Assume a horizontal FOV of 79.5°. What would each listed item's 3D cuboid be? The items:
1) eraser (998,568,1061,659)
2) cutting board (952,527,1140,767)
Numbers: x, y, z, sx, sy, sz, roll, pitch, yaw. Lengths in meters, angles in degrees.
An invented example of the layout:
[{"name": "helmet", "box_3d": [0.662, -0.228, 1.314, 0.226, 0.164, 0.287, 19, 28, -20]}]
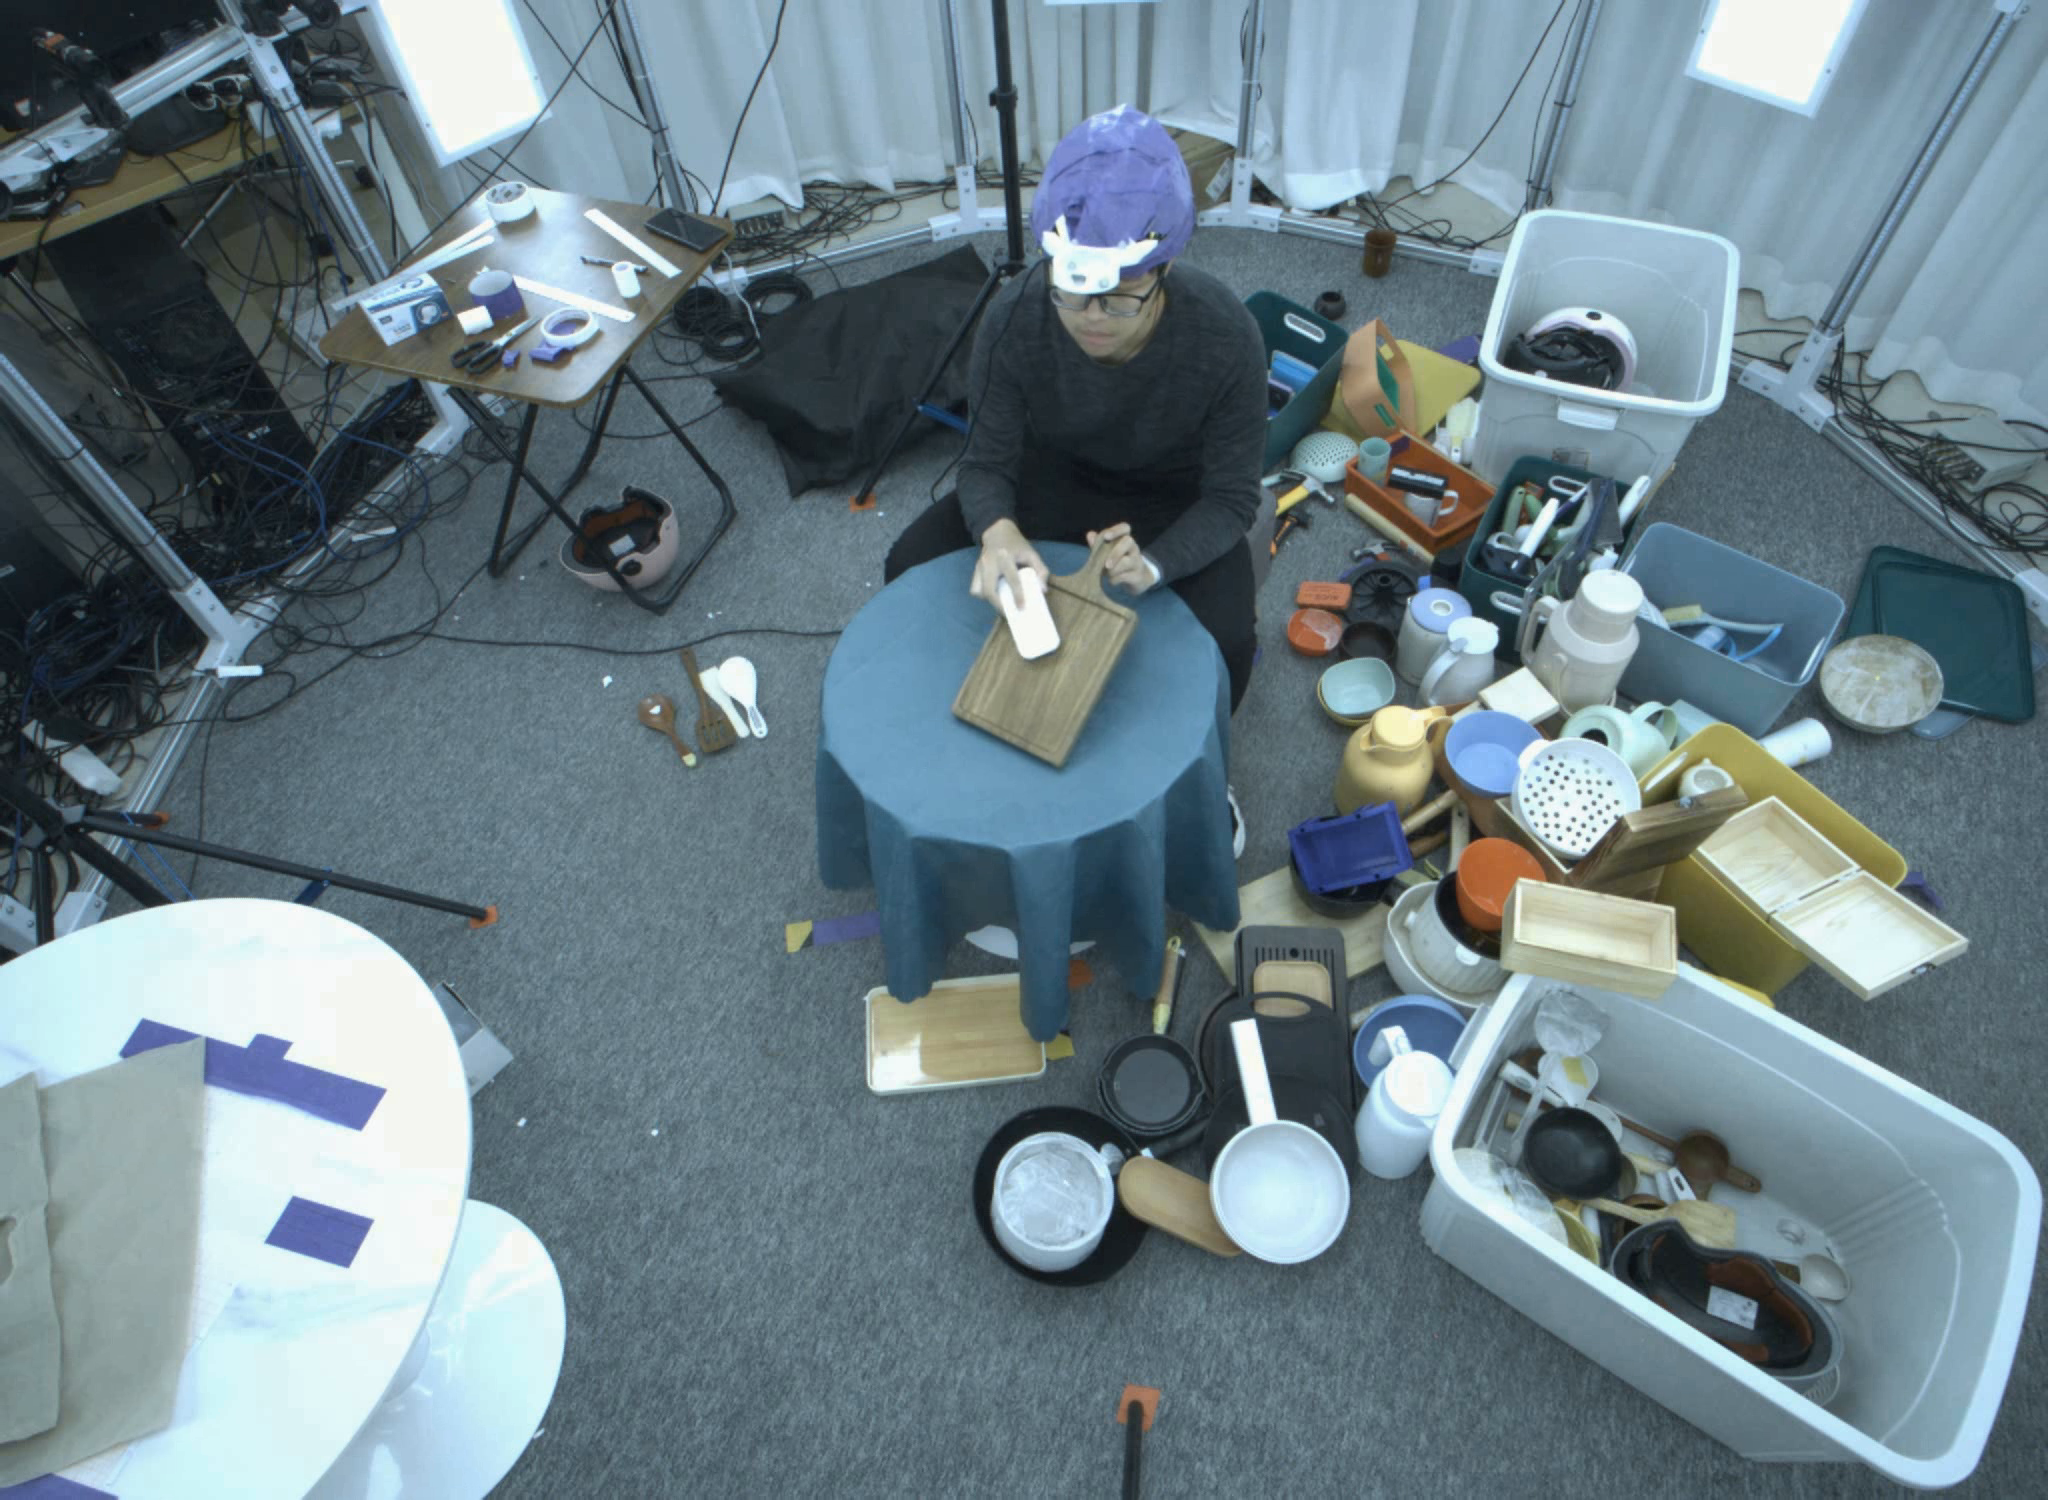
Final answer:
[{"name": "eraser", "box_3d": [0.009, -0.199, 1.788, 0.063, 0.035, 0.130, -21, 81, 10]}, {"name": "cutting board", "box_3d": [0.052, -0.168, 1.797, 0.198, 0.023, 0.352, 26, 87, 19]}]
